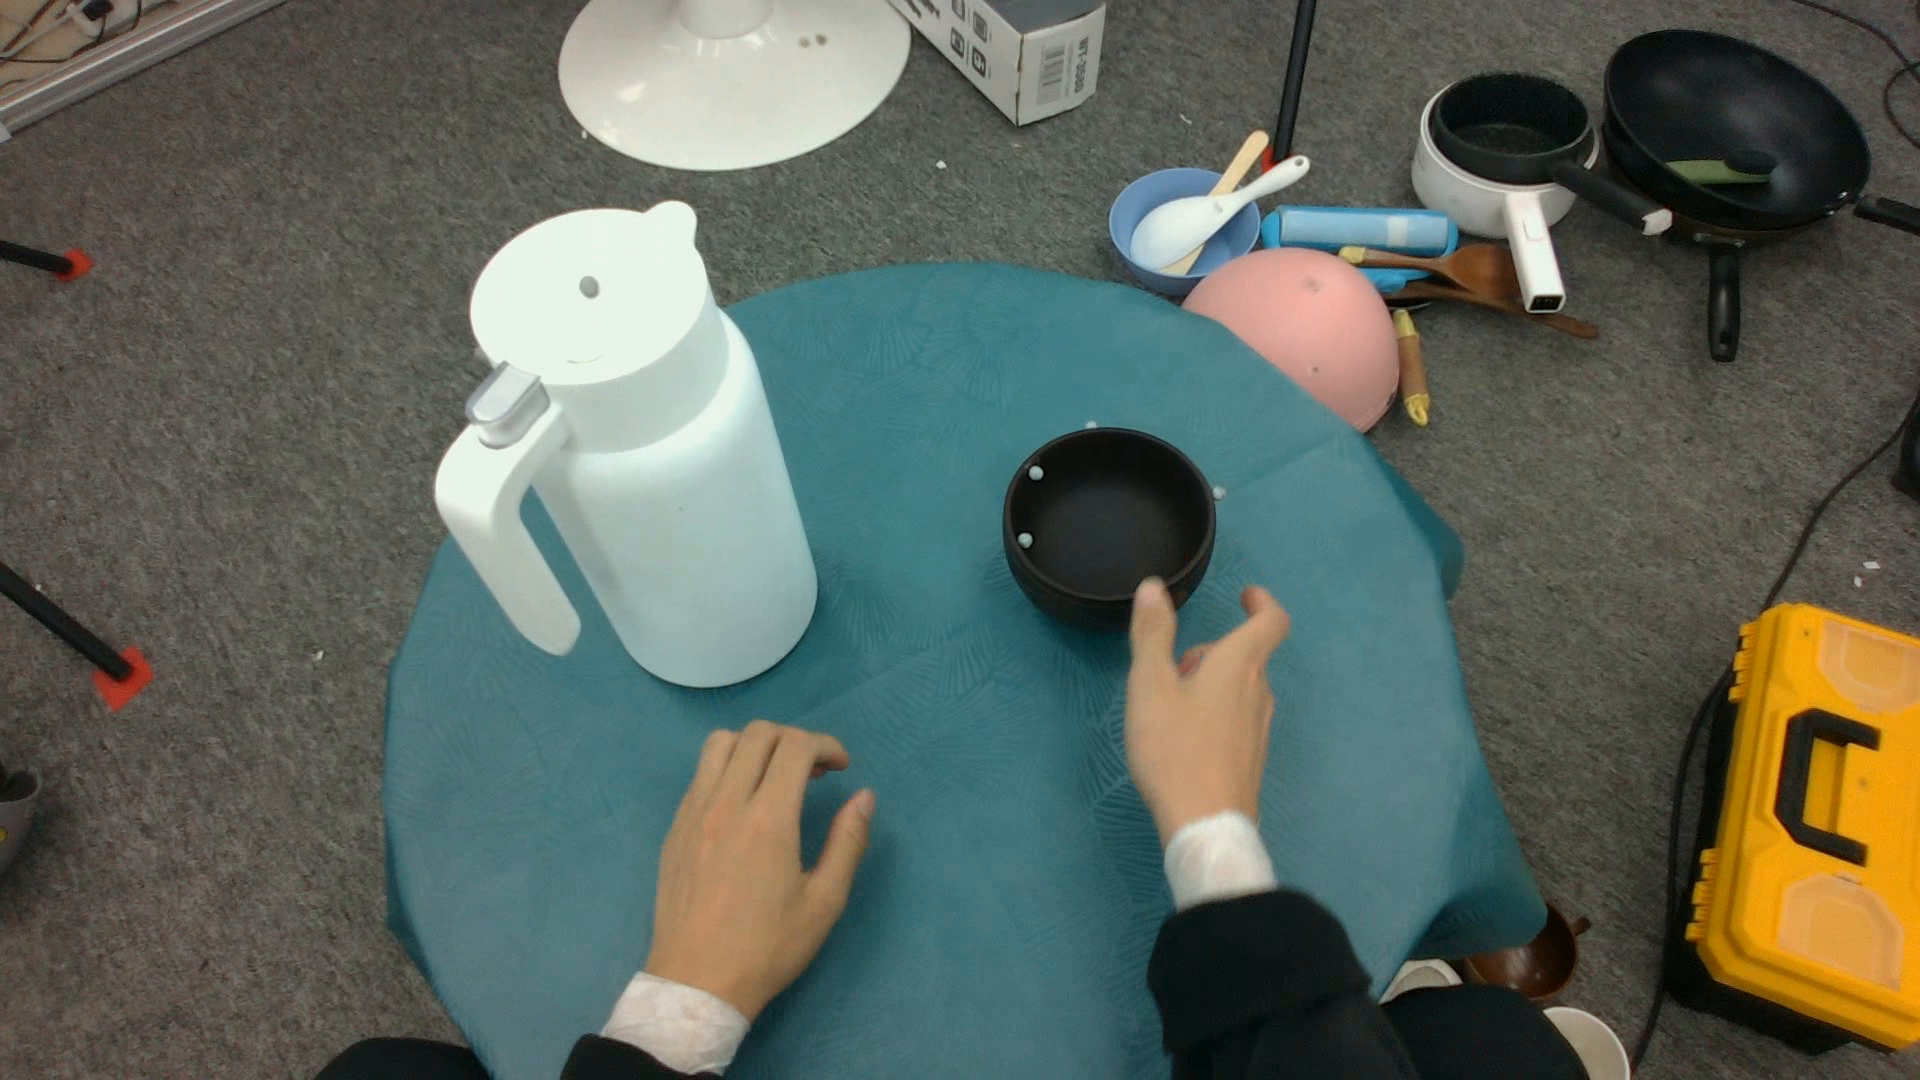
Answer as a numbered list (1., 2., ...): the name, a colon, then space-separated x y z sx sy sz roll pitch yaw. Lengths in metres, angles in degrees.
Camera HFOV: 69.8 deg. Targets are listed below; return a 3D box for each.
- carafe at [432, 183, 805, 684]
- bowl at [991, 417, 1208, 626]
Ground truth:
1. carafe: -0.159 -0.023 0.679 0.124 0.267 0.173 22 61 14
2. bowl: 0.077 -0.003 0.769 0.118 0.069 0.118 -1 56 2
